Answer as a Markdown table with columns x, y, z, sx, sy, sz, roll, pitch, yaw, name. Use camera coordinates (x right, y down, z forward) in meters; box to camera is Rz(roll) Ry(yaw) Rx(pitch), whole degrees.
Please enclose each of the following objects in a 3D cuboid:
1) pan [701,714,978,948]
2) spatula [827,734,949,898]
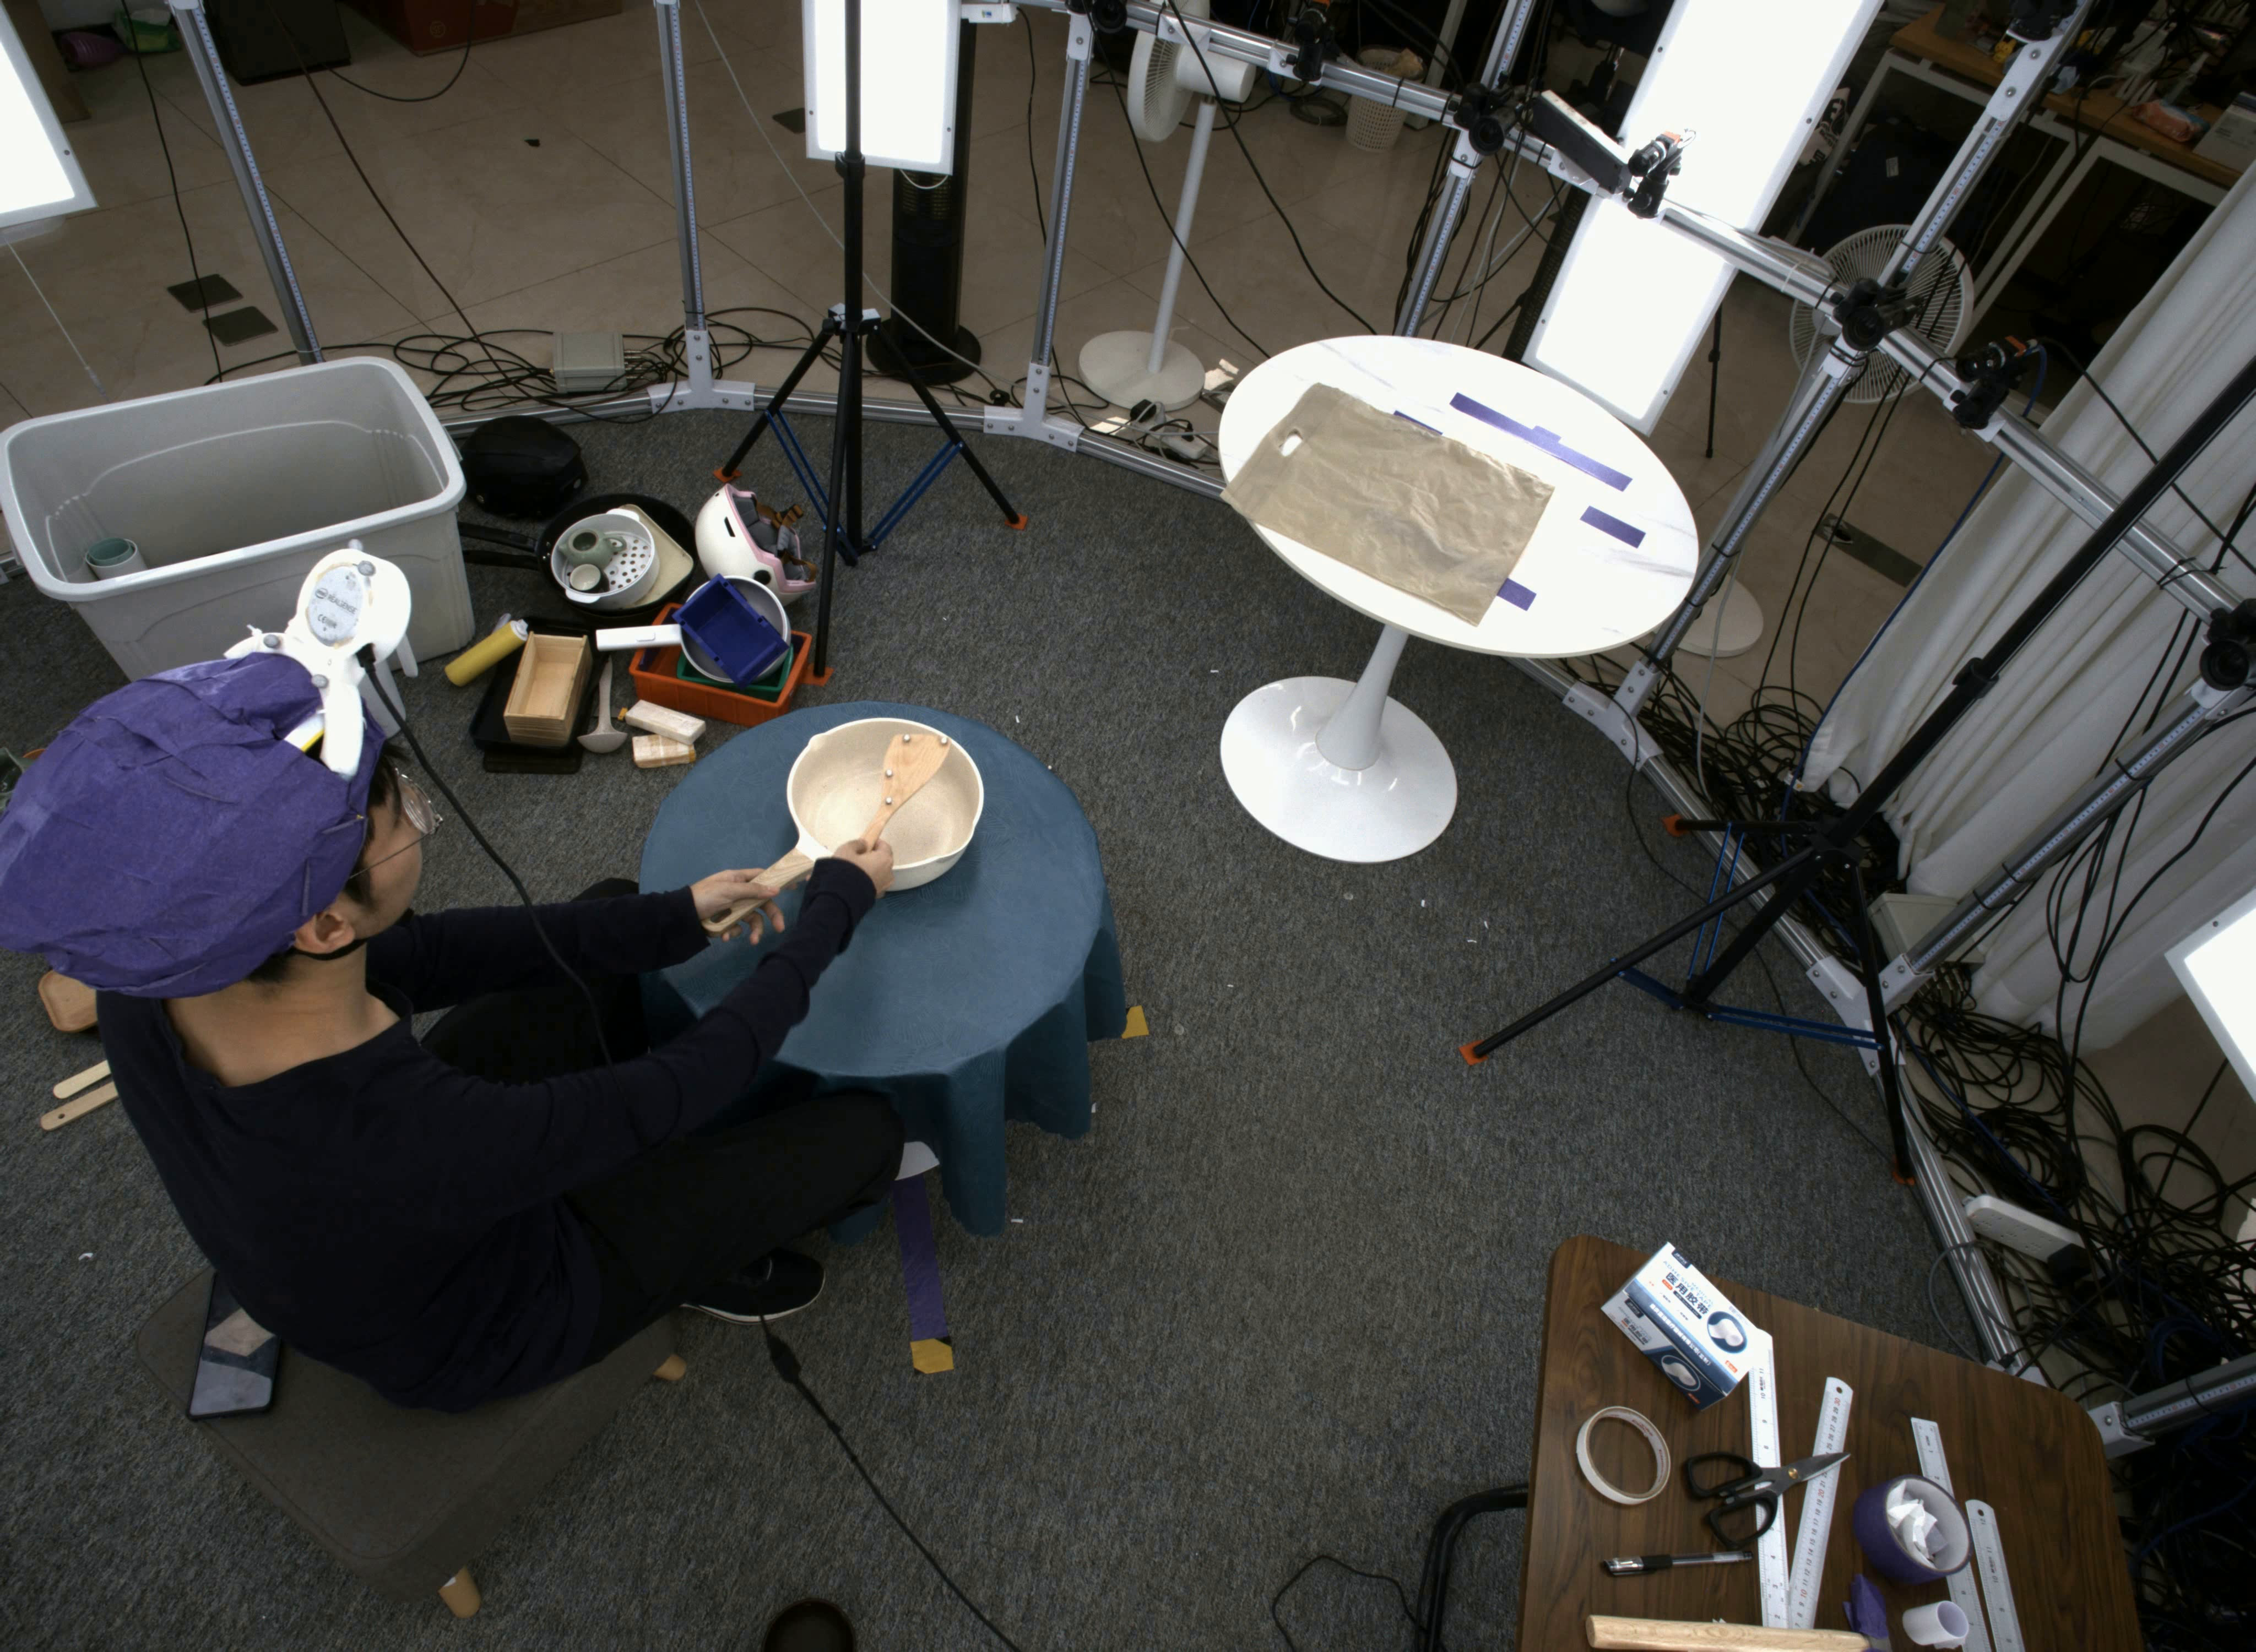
| x | y | z | sx | sy | sz | roll | pitch | yaw | name |
| --- | --- | --- | --- | --- | --- | --- | --- | --- | --- |
| -0.375 | 0.025 | 1.652 | 0.259 | 0.104 | 0.434 | 35 | 54 | 12 | pan |
| -0.302 | -0.021 | 1.596 | 0.079 | 0.017 | 0.323 | 12 | 39 | 5 | spatula |
